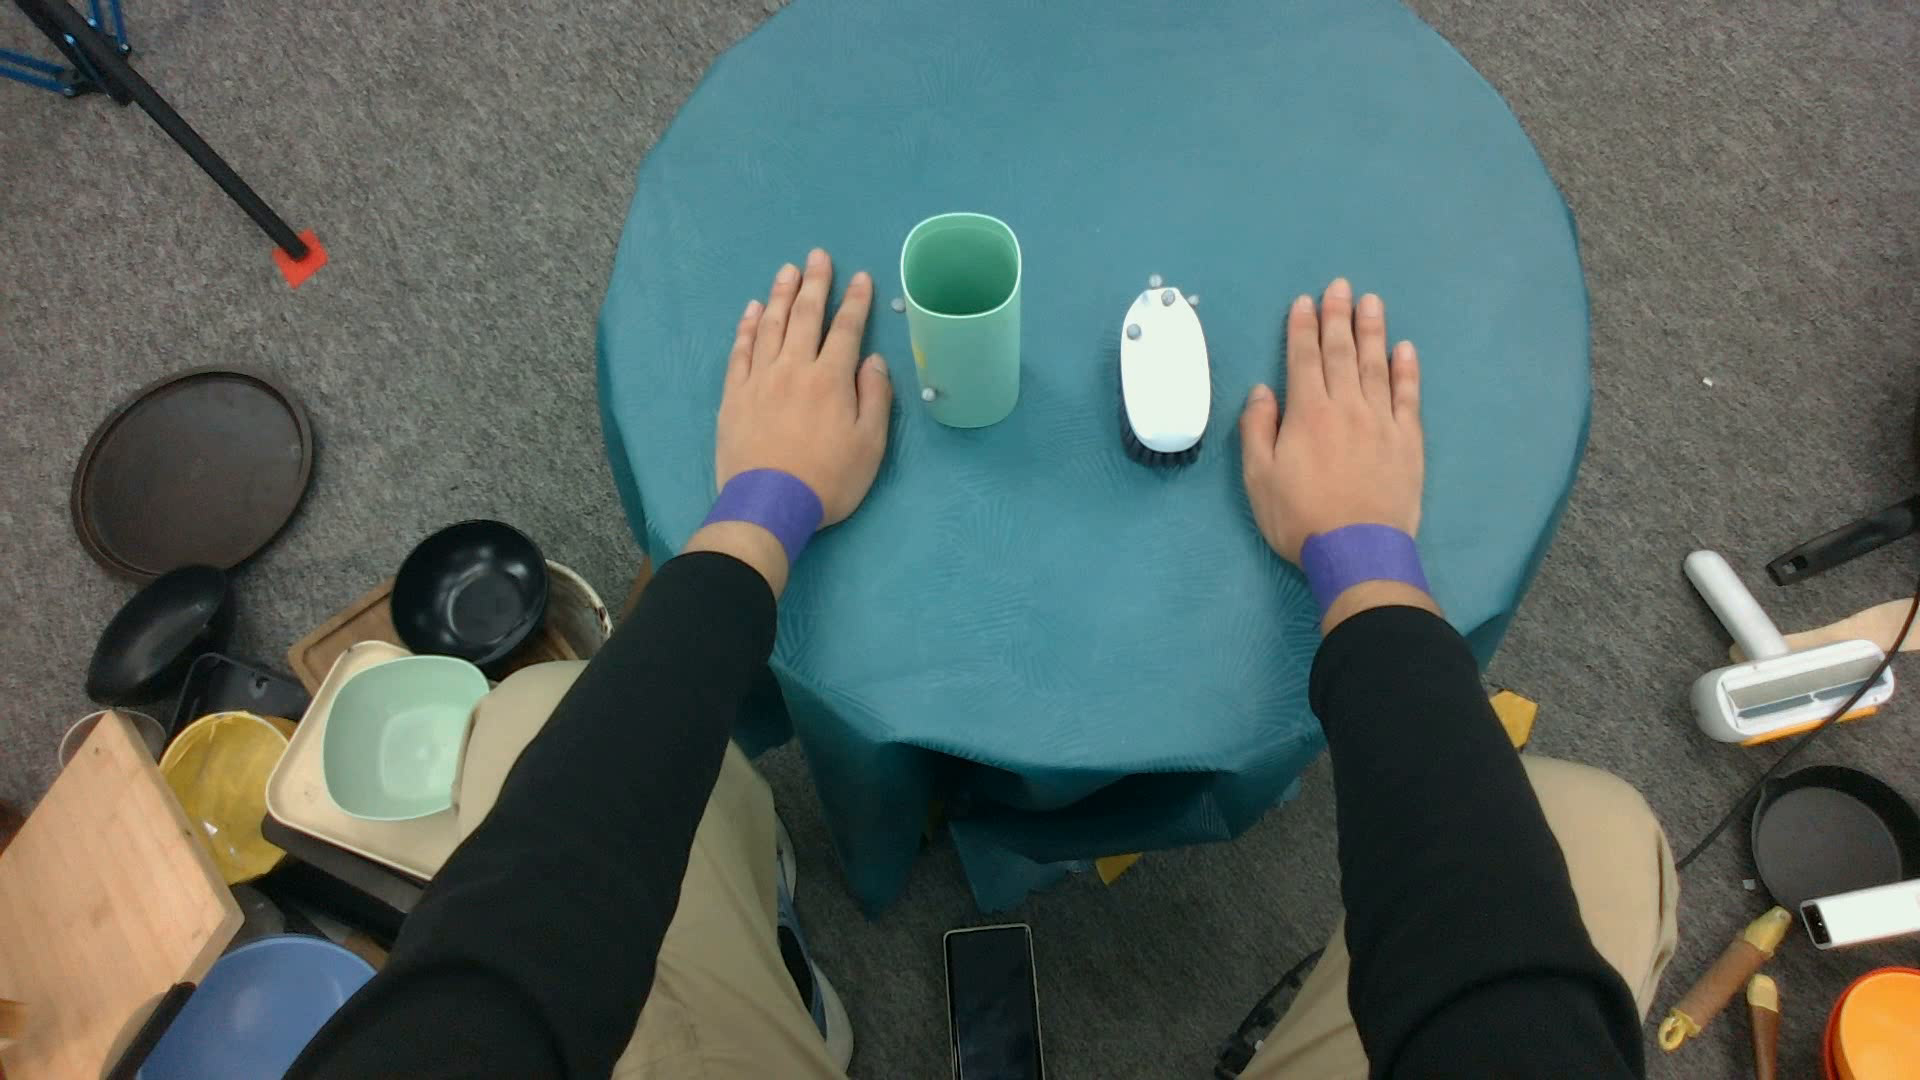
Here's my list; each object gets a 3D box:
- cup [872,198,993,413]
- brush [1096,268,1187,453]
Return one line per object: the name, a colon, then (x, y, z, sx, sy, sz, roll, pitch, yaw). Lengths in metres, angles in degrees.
cup: (-0.011, -0.127, 0.768, 0.067, 0.132, 0.067, 0, 69, 1)
brush: (0.105, -0.109, 0.786, 0.050, 0.072, 0.099, -1, 68, 2)
